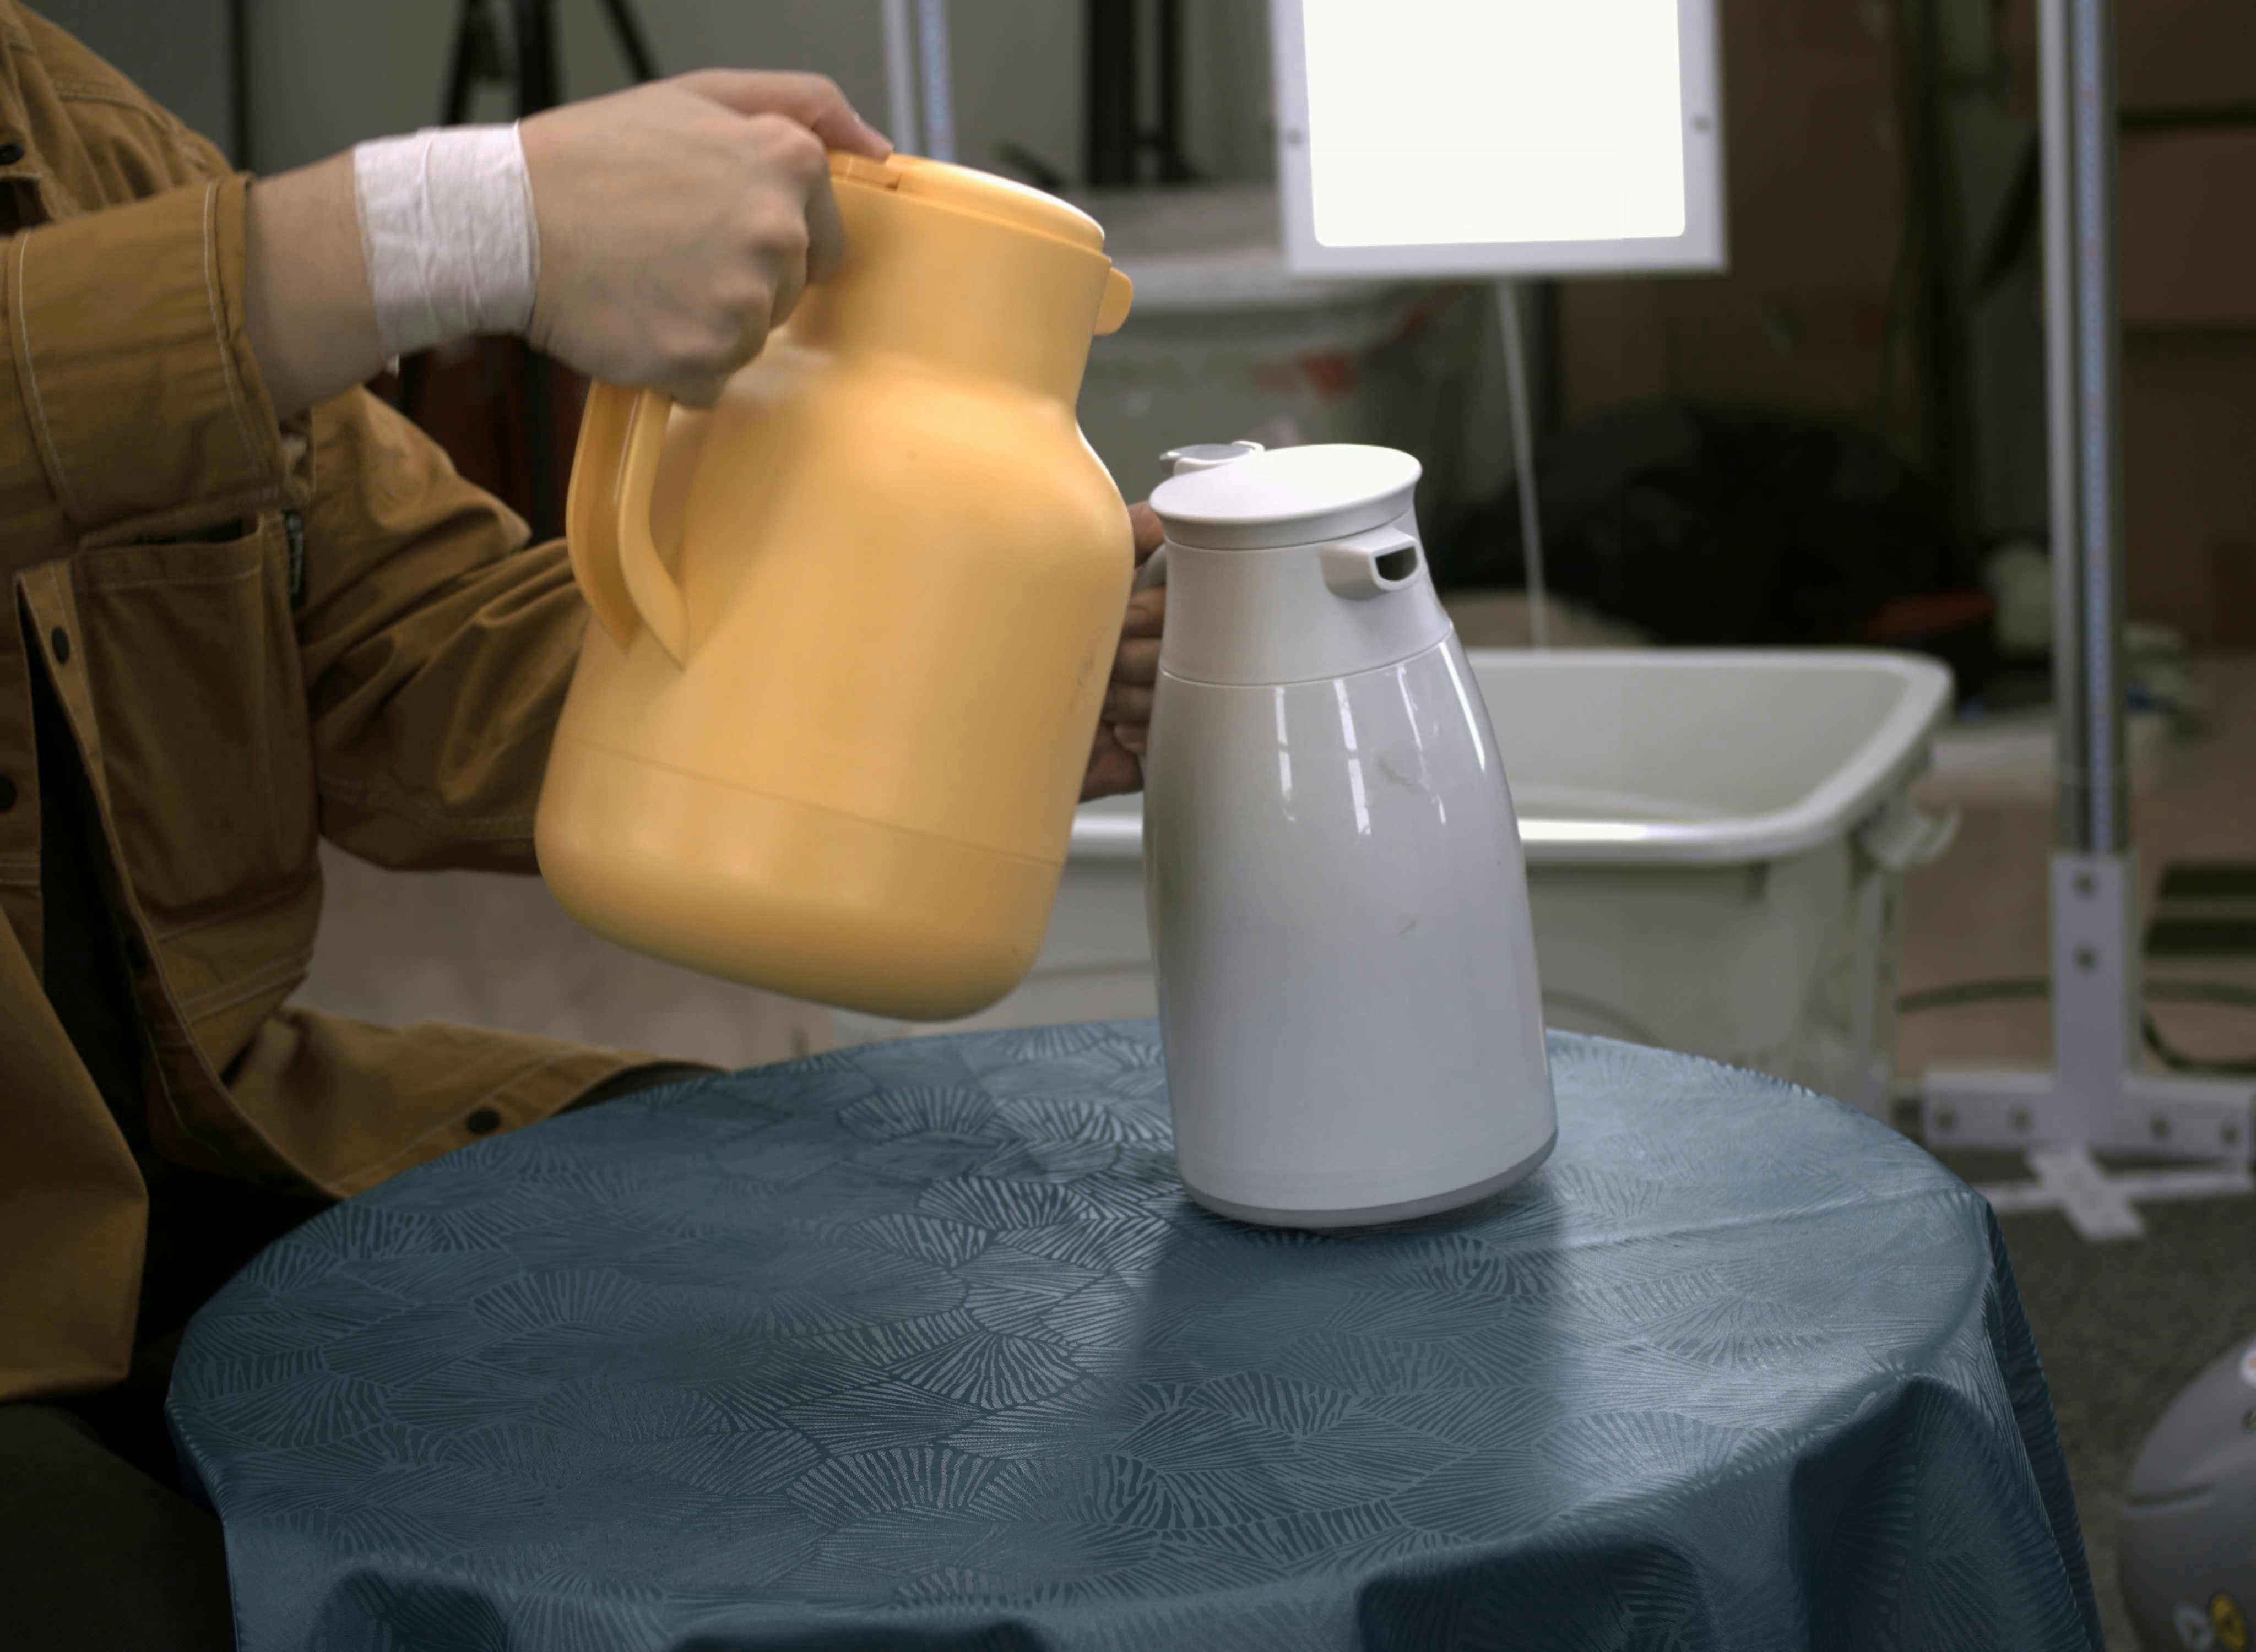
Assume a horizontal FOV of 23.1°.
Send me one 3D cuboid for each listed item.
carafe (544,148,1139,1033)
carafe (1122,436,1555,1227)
[{"bbox_3d":[-0.093,-0.077,1.695,0.167,0.261,0.197,13,0,45],"label":"carafe"},{"bbox_3d":[0.055,-0.007,1.864,0.129,0.249,0.171,-17,18,-29],"label":"carafe"}]
